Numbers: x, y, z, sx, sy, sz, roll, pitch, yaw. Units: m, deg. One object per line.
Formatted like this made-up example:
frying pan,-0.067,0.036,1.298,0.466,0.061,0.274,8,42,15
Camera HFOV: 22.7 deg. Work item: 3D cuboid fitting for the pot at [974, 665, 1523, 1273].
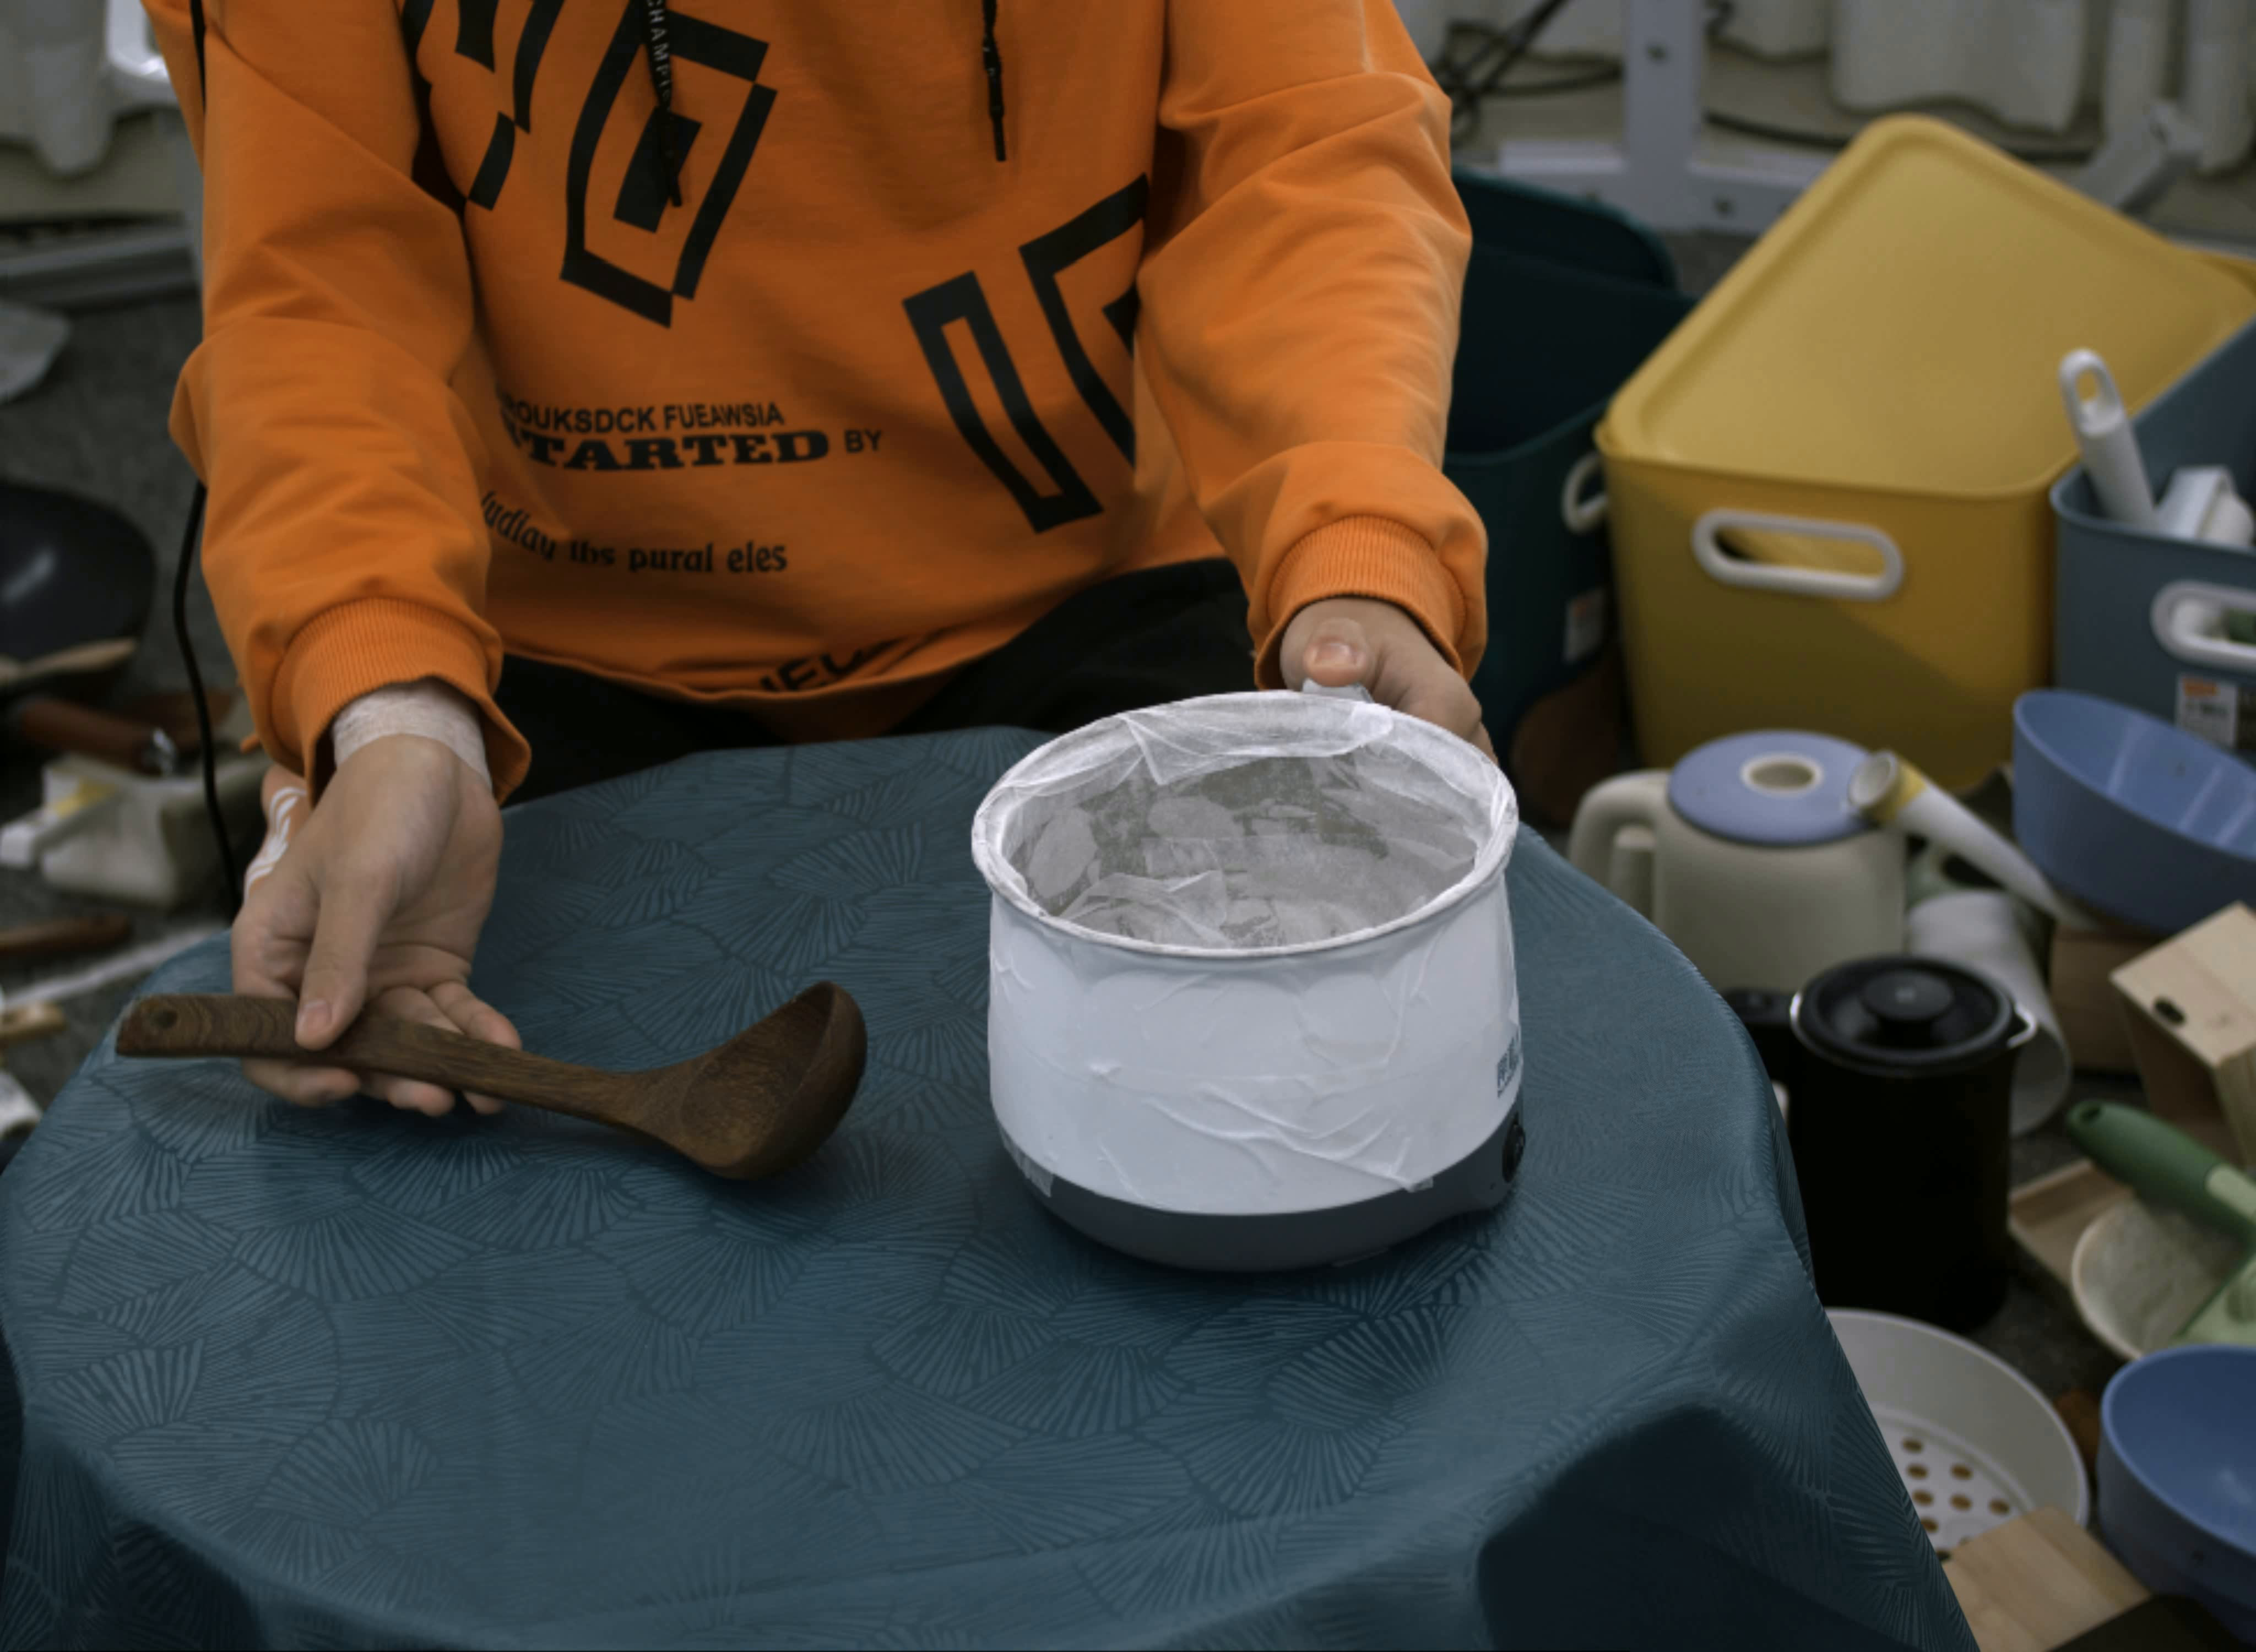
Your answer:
pot,0.049,0.040,1.867,0.177,0.135,0.238,6,29,15

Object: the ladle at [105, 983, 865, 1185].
ladle,-0.220,0.070,1.894,0.272,0.070,0.077,10,45,12
